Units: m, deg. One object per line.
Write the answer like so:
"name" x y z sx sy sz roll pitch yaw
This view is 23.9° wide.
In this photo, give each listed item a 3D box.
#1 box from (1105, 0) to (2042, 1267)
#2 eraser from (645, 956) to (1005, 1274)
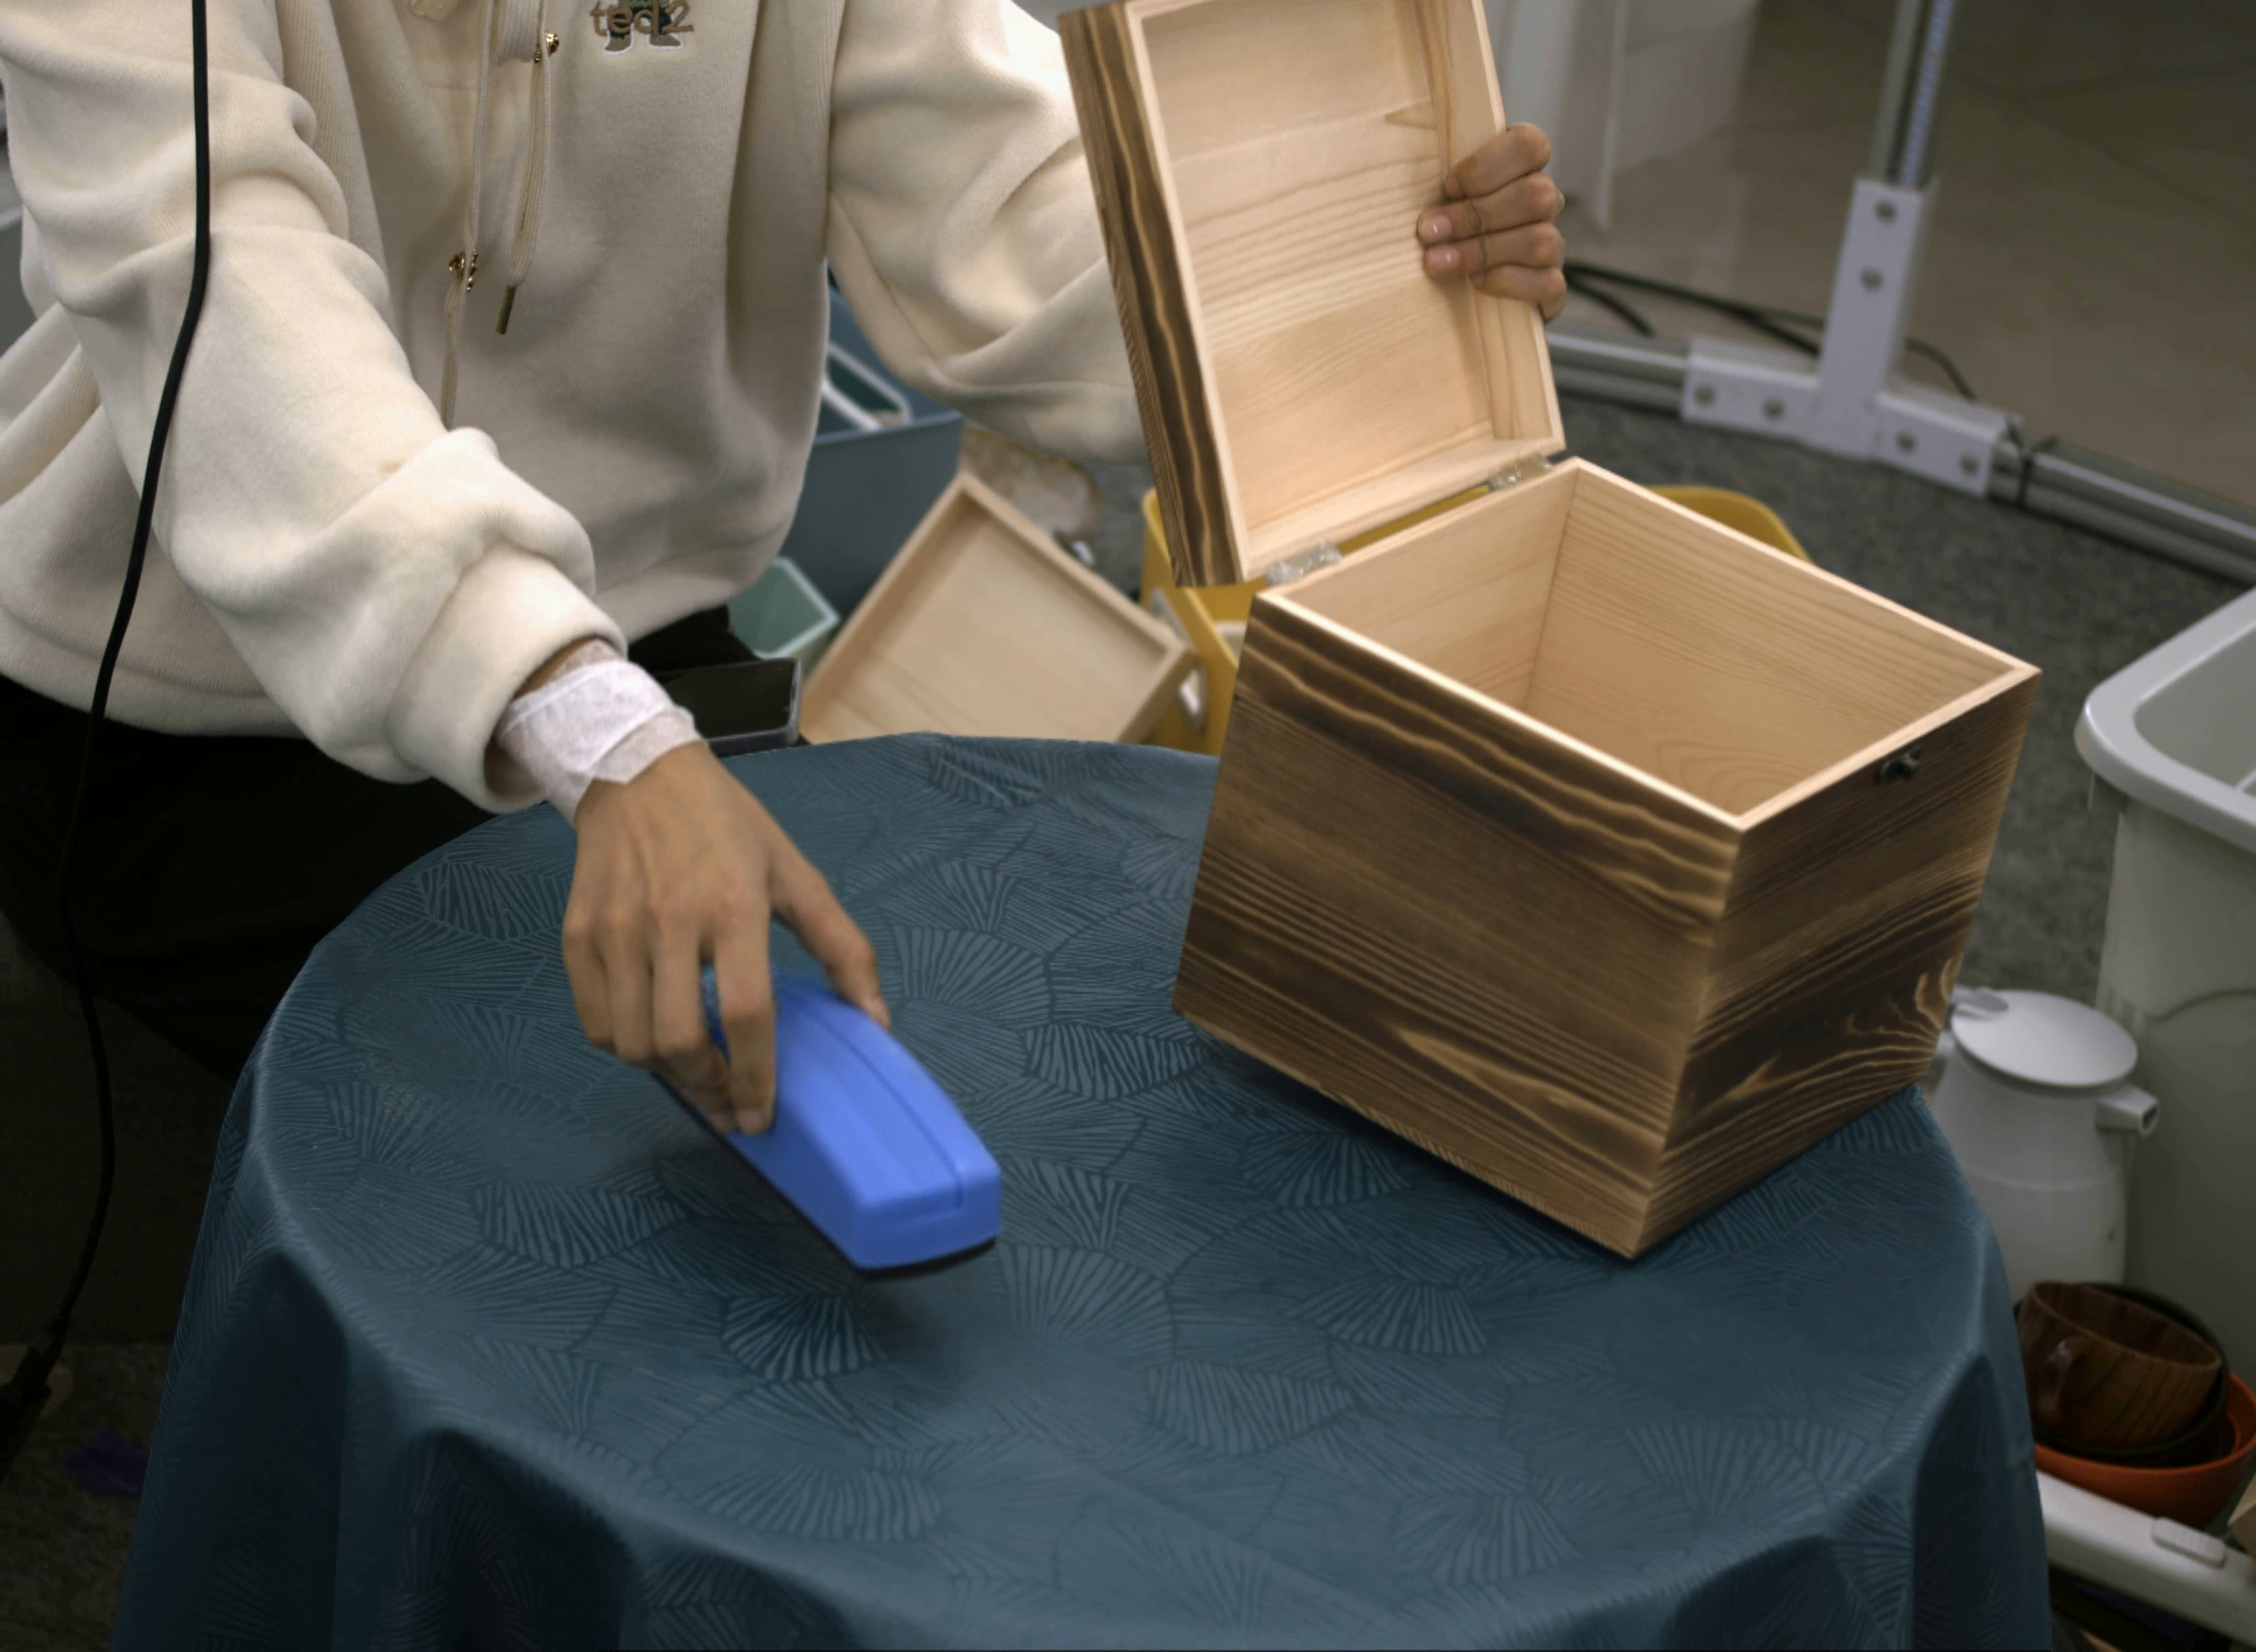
"box" 0.141 -0.099 1.849 0.324 0.374 0.208 27 32 29
"eraser" -0.100 0.087 1.733 0.053 0.047 0.163 -13 31 -29
